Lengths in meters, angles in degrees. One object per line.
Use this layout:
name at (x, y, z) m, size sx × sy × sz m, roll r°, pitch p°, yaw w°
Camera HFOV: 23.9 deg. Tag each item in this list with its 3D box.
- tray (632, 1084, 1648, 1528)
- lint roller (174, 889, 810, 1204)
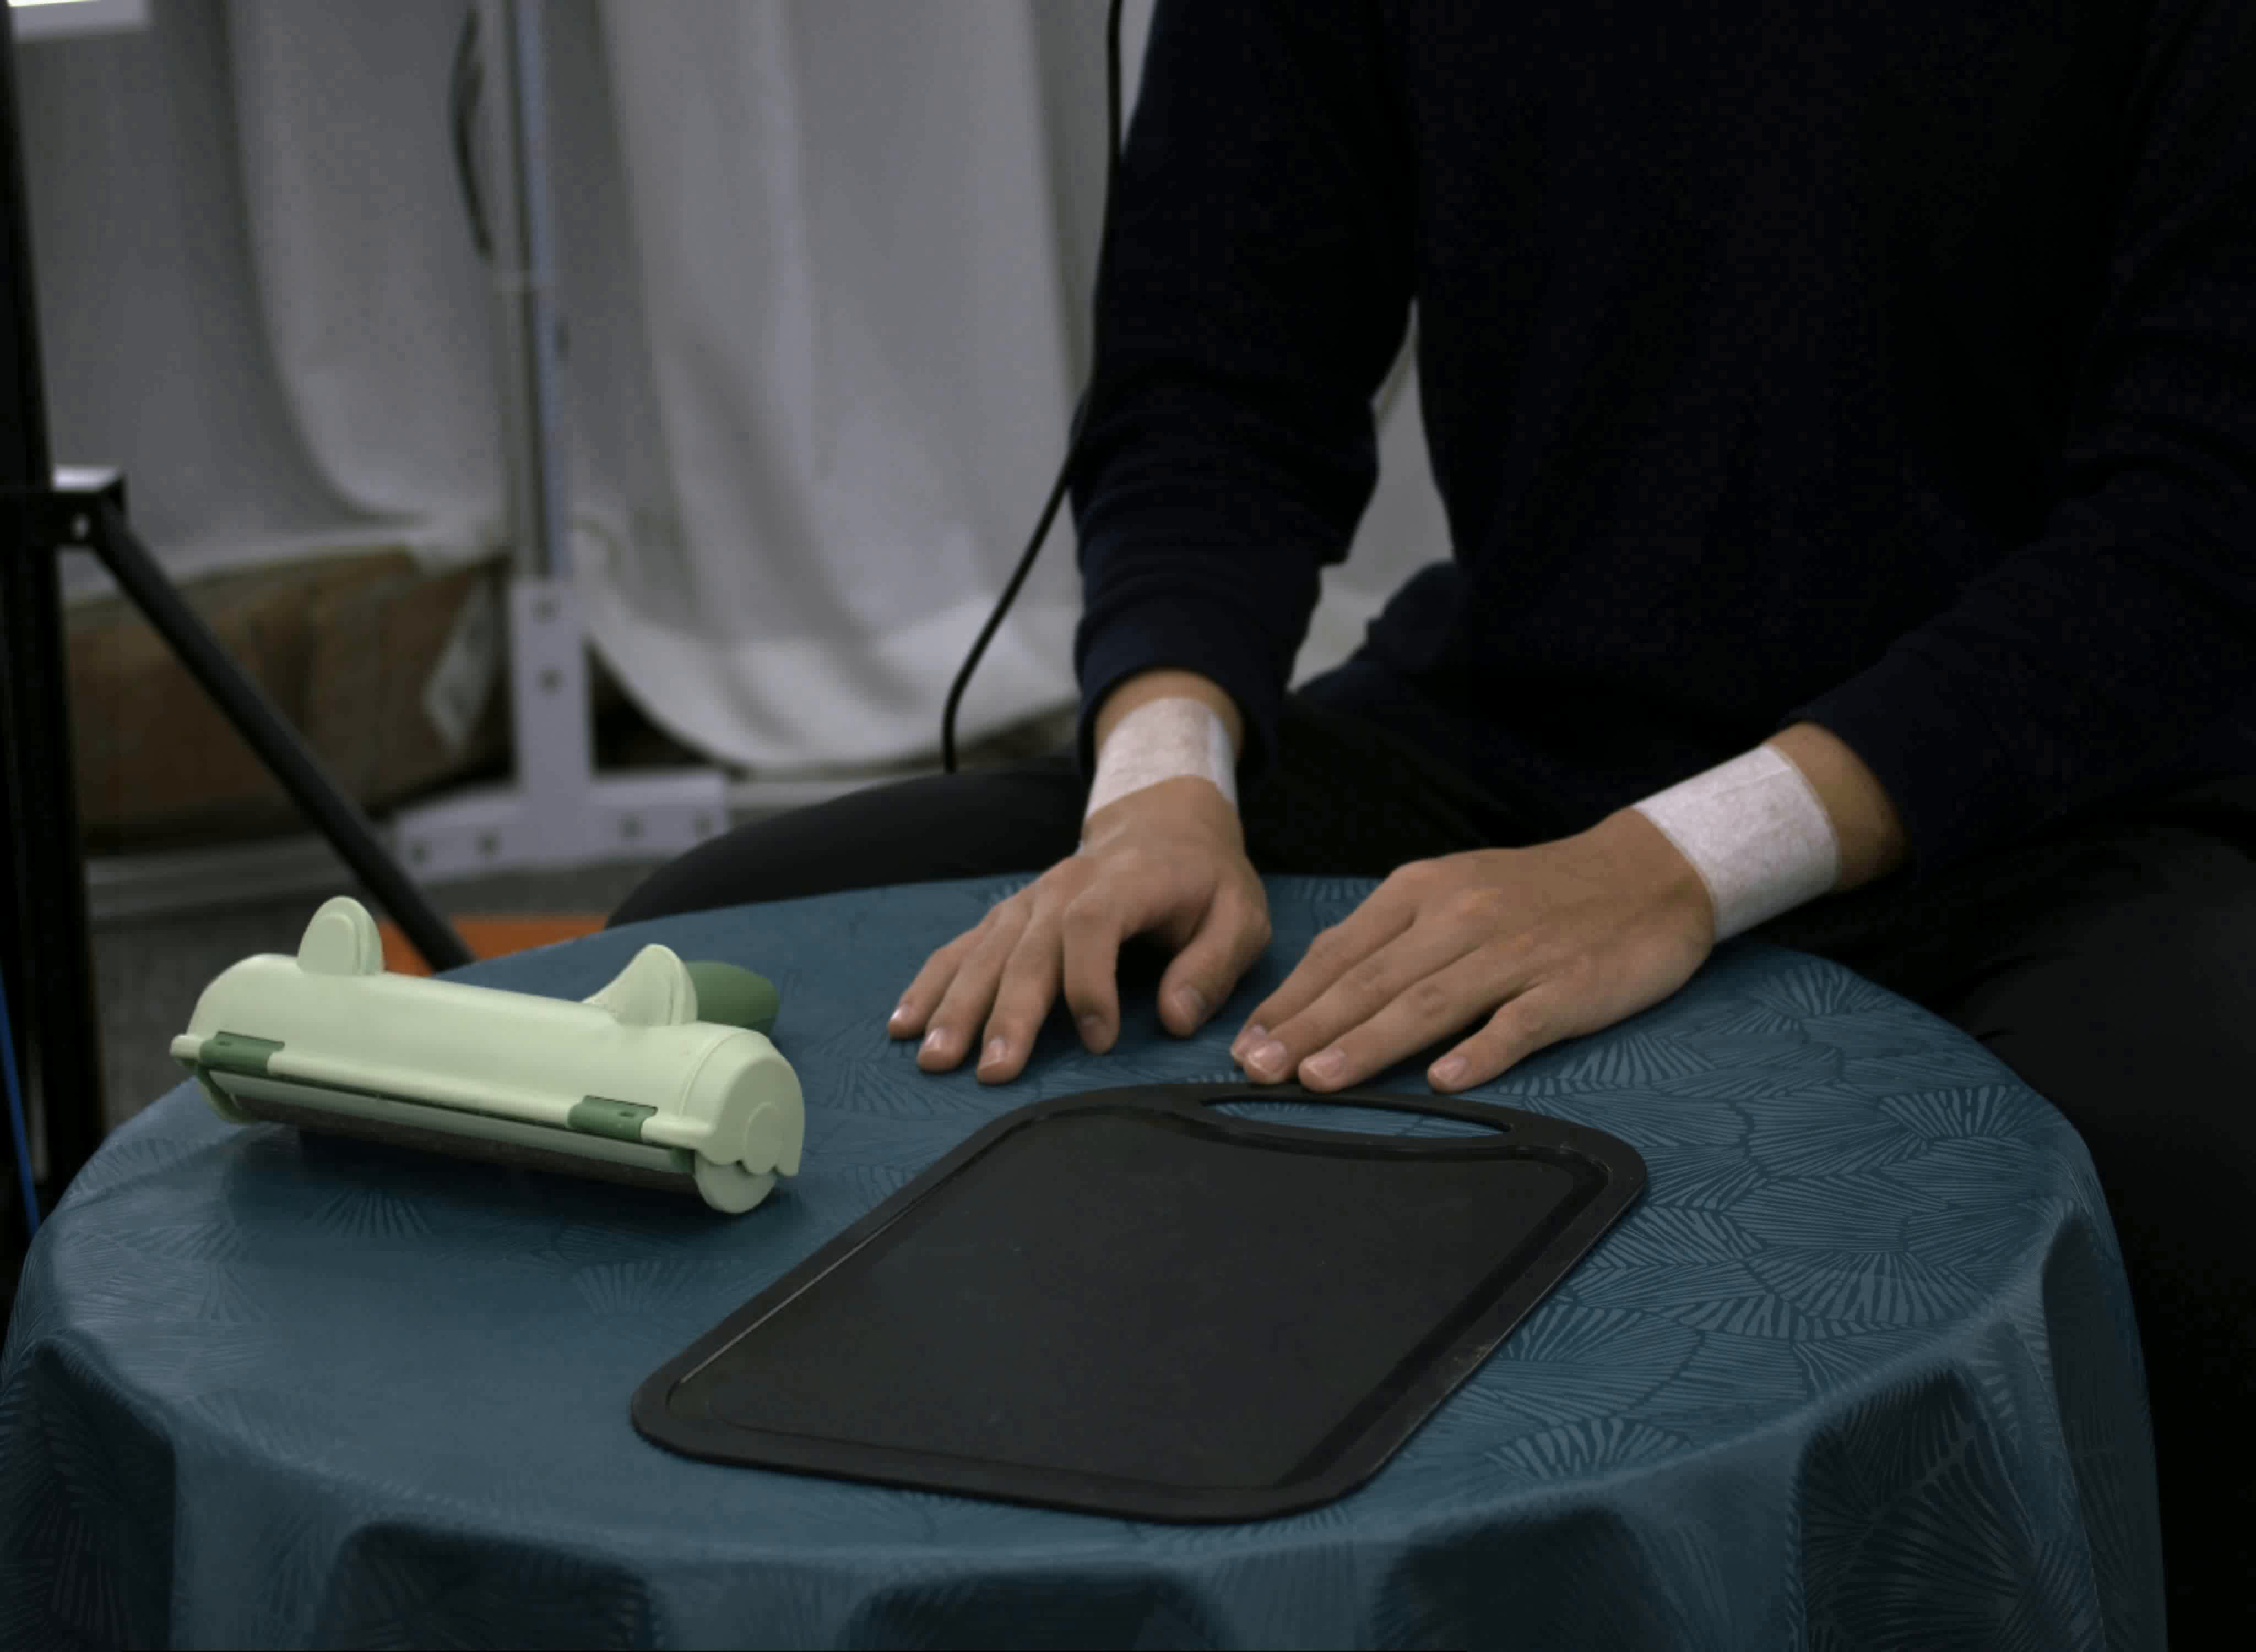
tray at (0.013, 0.124, 1.486) m, size 0.214 × 0.010 × 0.320 m, roll 5°, pitch 18°, yaw 25°
lint roller at (-0.164, 0.048, 1.640) m, size 0.202 × 0.082 × 0.180 m, roll 8°, pitch 25°, yaw 30°
